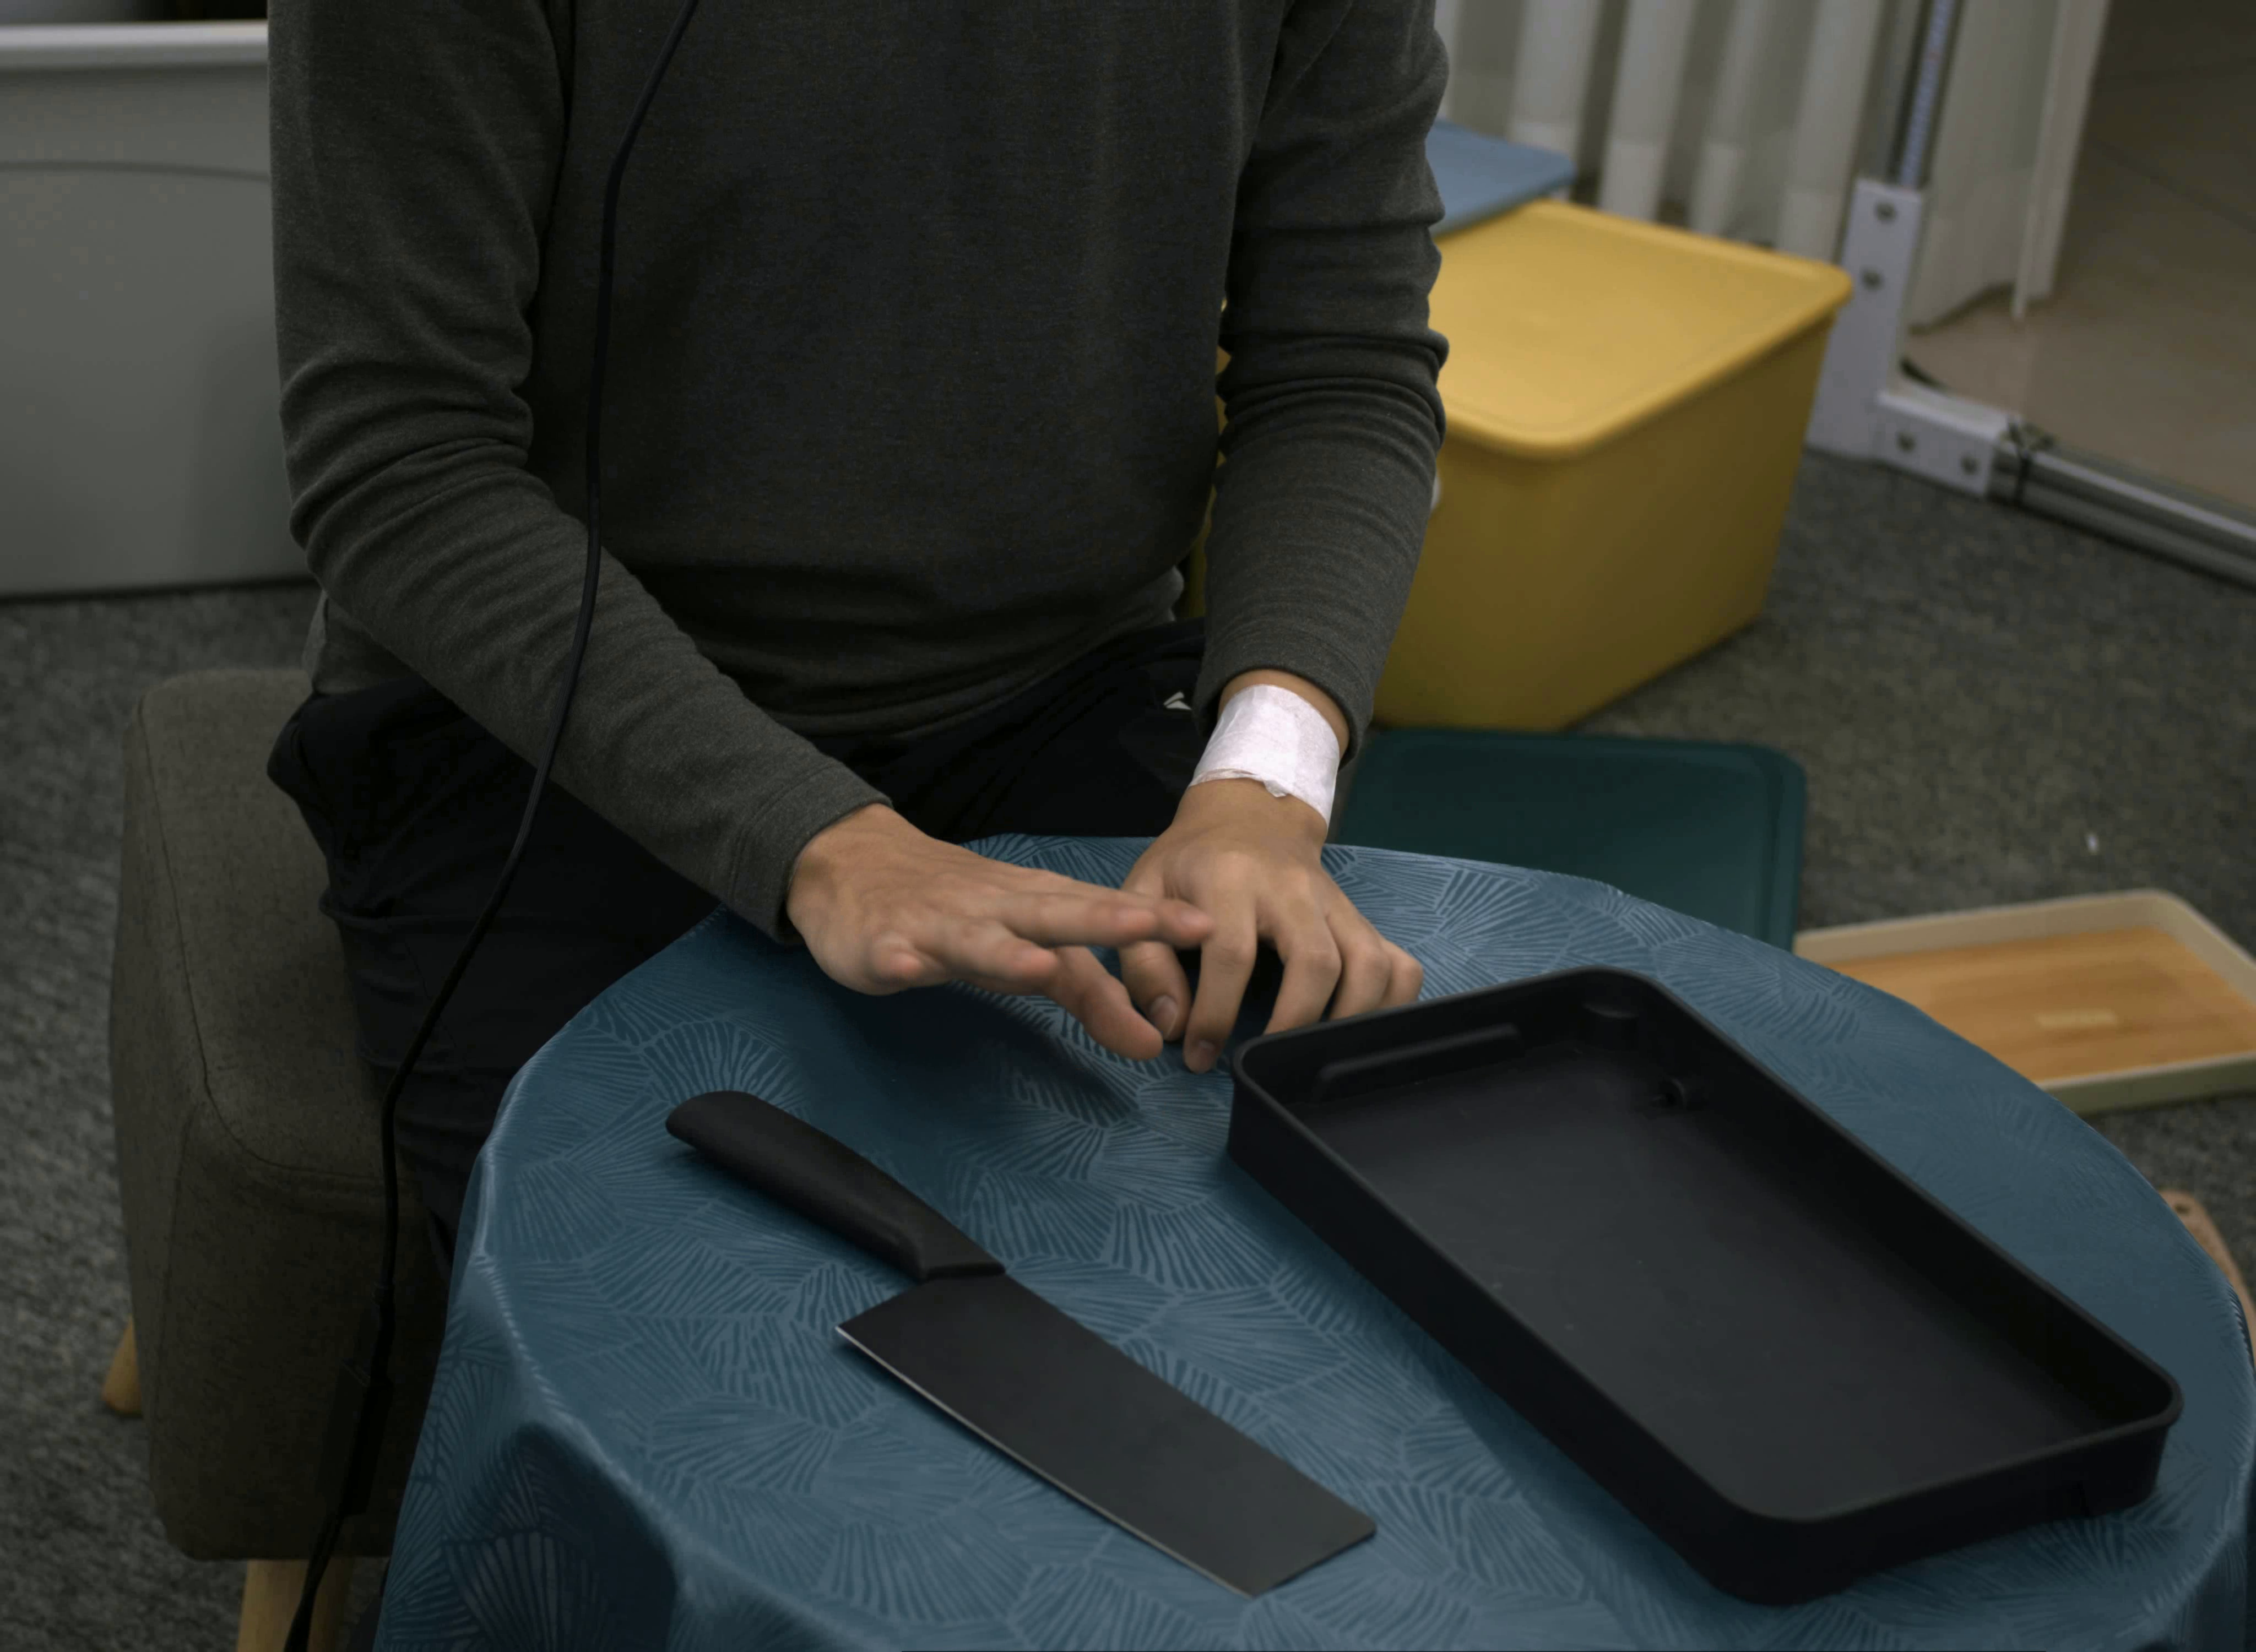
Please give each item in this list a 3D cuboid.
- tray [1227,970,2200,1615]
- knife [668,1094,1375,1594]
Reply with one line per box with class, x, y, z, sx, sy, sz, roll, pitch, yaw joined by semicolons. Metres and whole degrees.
tray;0.186;0.147;1.763;0.183;0.037;0.321;-12;31;-32
knife;-0.047;0.162;1.704;0.080;0.021;0.305;-18;37;-38
